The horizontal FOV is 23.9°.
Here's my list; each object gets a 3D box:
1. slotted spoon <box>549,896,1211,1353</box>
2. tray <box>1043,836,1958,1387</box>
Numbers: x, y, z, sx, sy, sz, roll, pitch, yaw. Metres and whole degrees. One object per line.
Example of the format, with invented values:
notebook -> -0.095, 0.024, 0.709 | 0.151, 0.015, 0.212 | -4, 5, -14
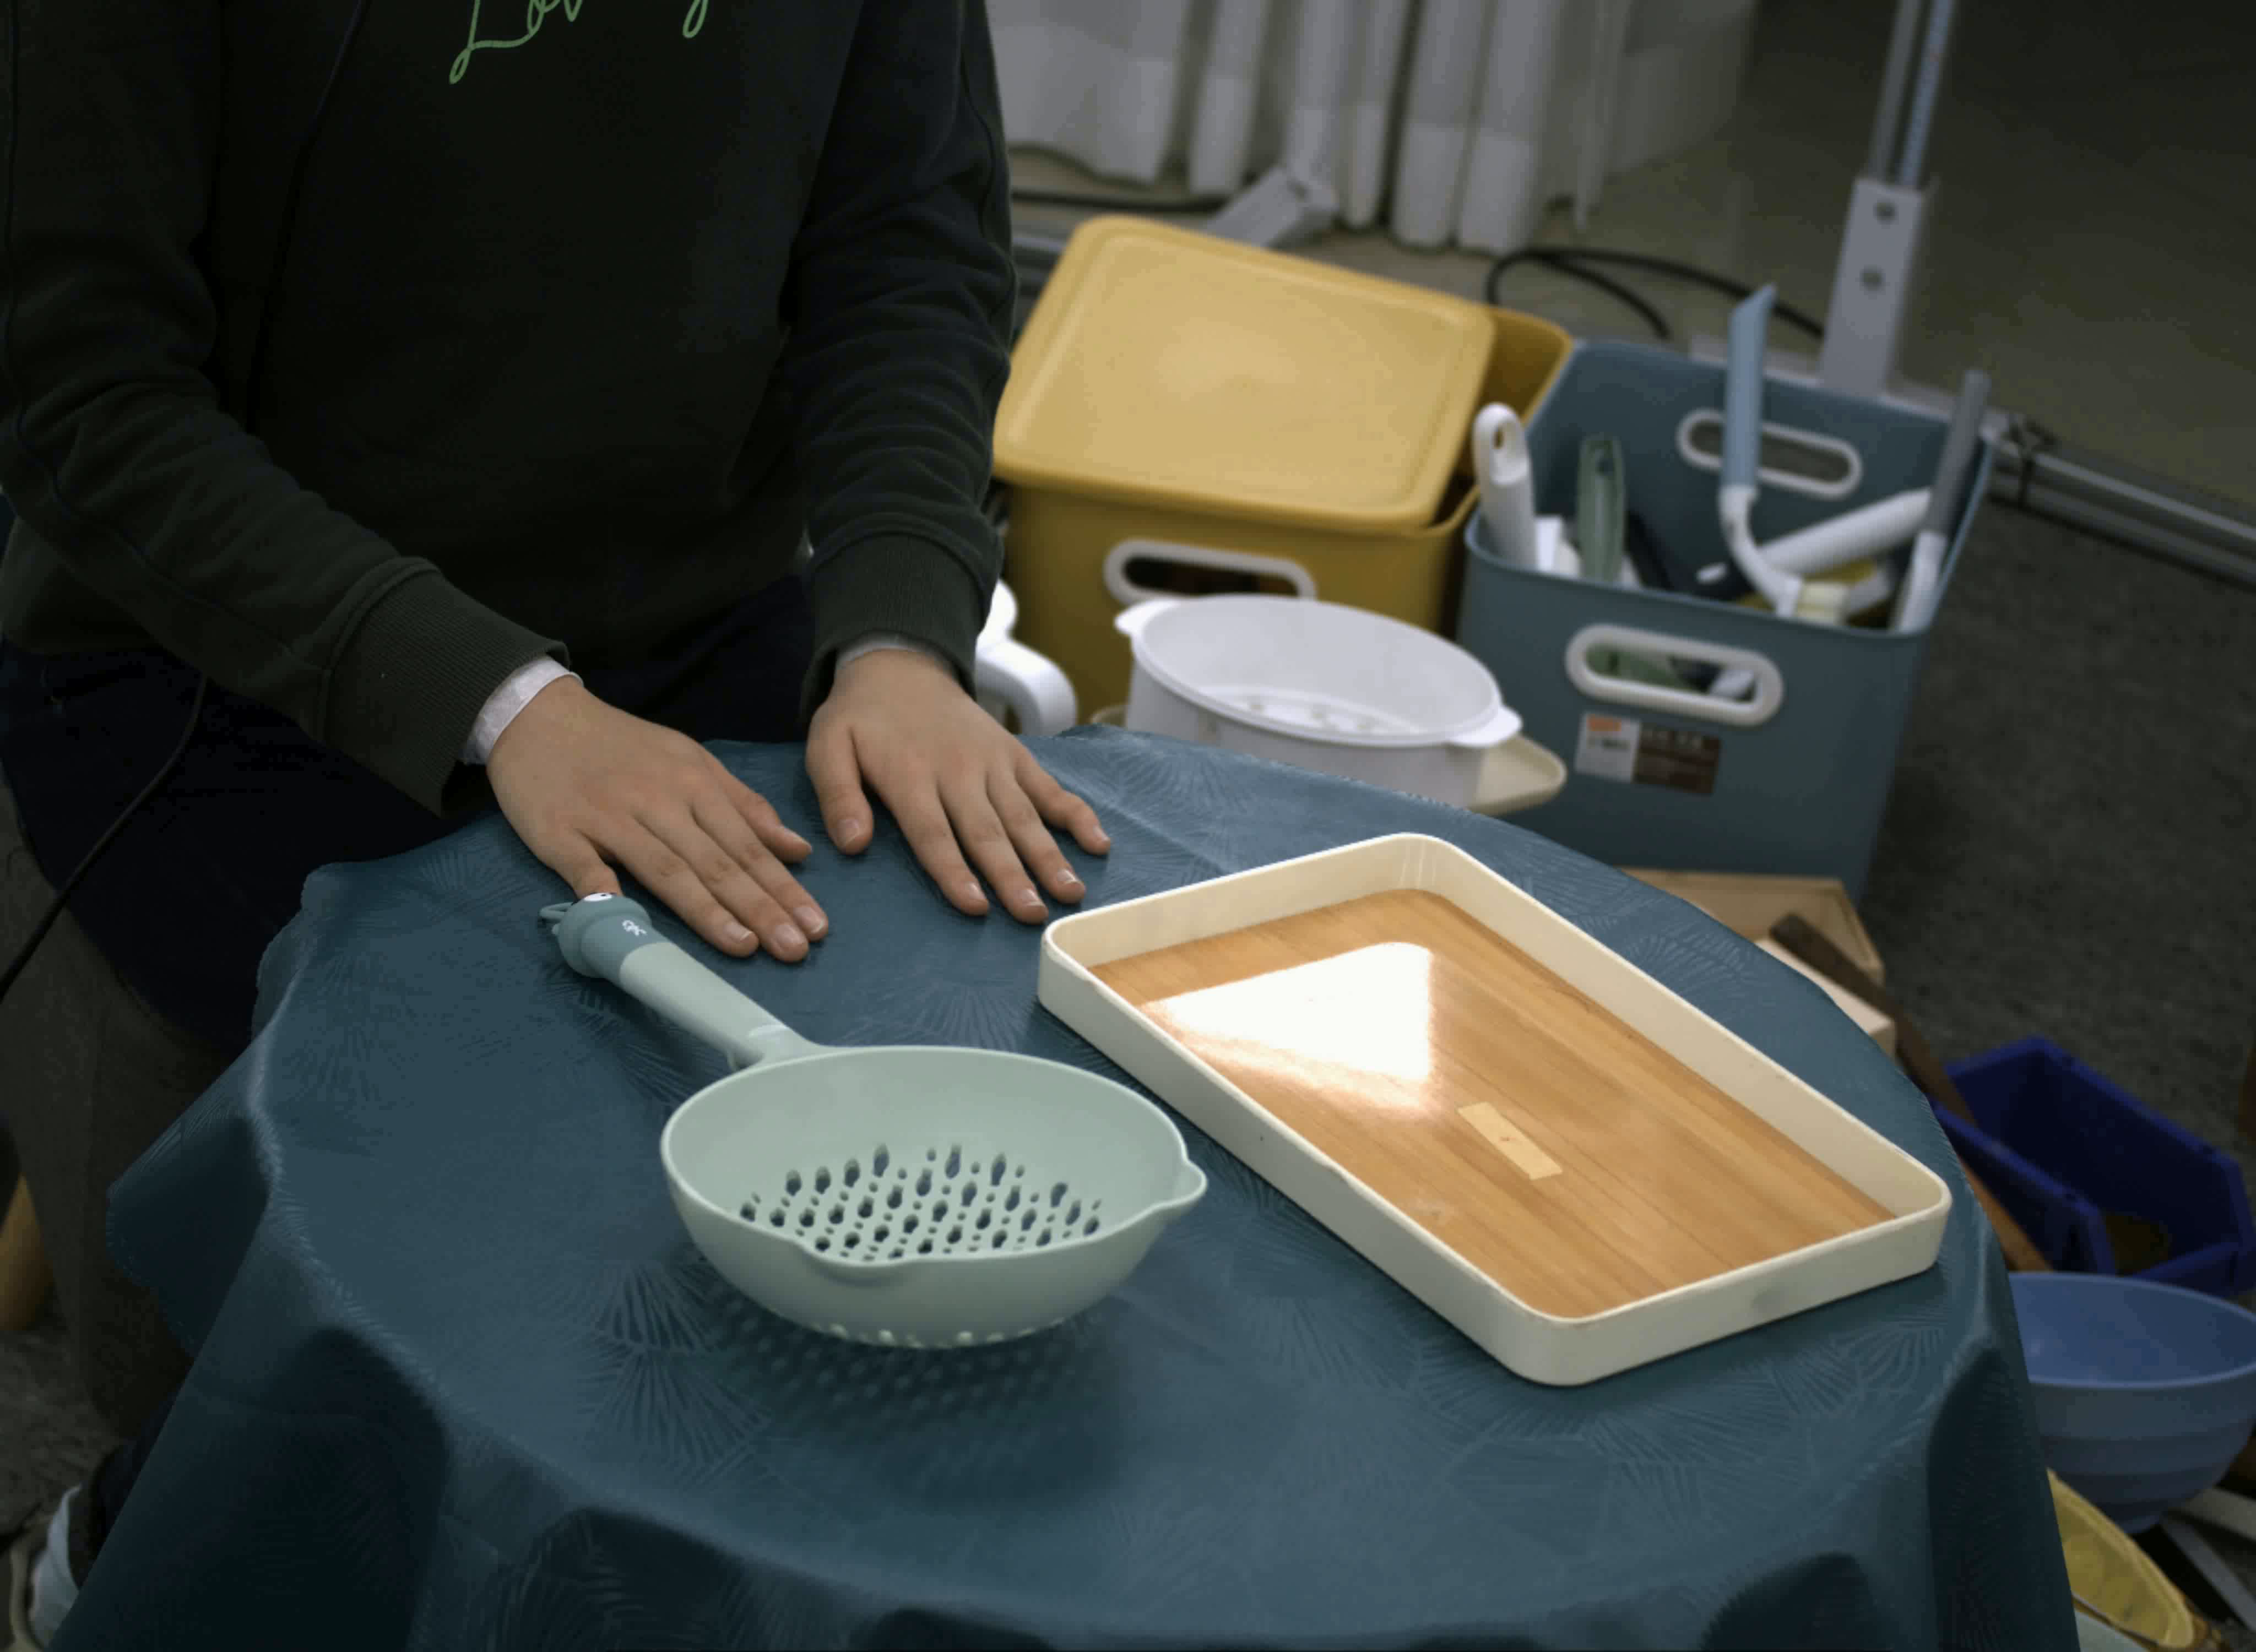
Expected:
slotted spoon -> -0.114, 0.084, 1.782 | 0.168, 0.075, 0.362 | -9, 30, -29
tray -> 0.125, 0.094, 1.859 | 0.190, 0.027, 0.303 | -13, 33, -34
